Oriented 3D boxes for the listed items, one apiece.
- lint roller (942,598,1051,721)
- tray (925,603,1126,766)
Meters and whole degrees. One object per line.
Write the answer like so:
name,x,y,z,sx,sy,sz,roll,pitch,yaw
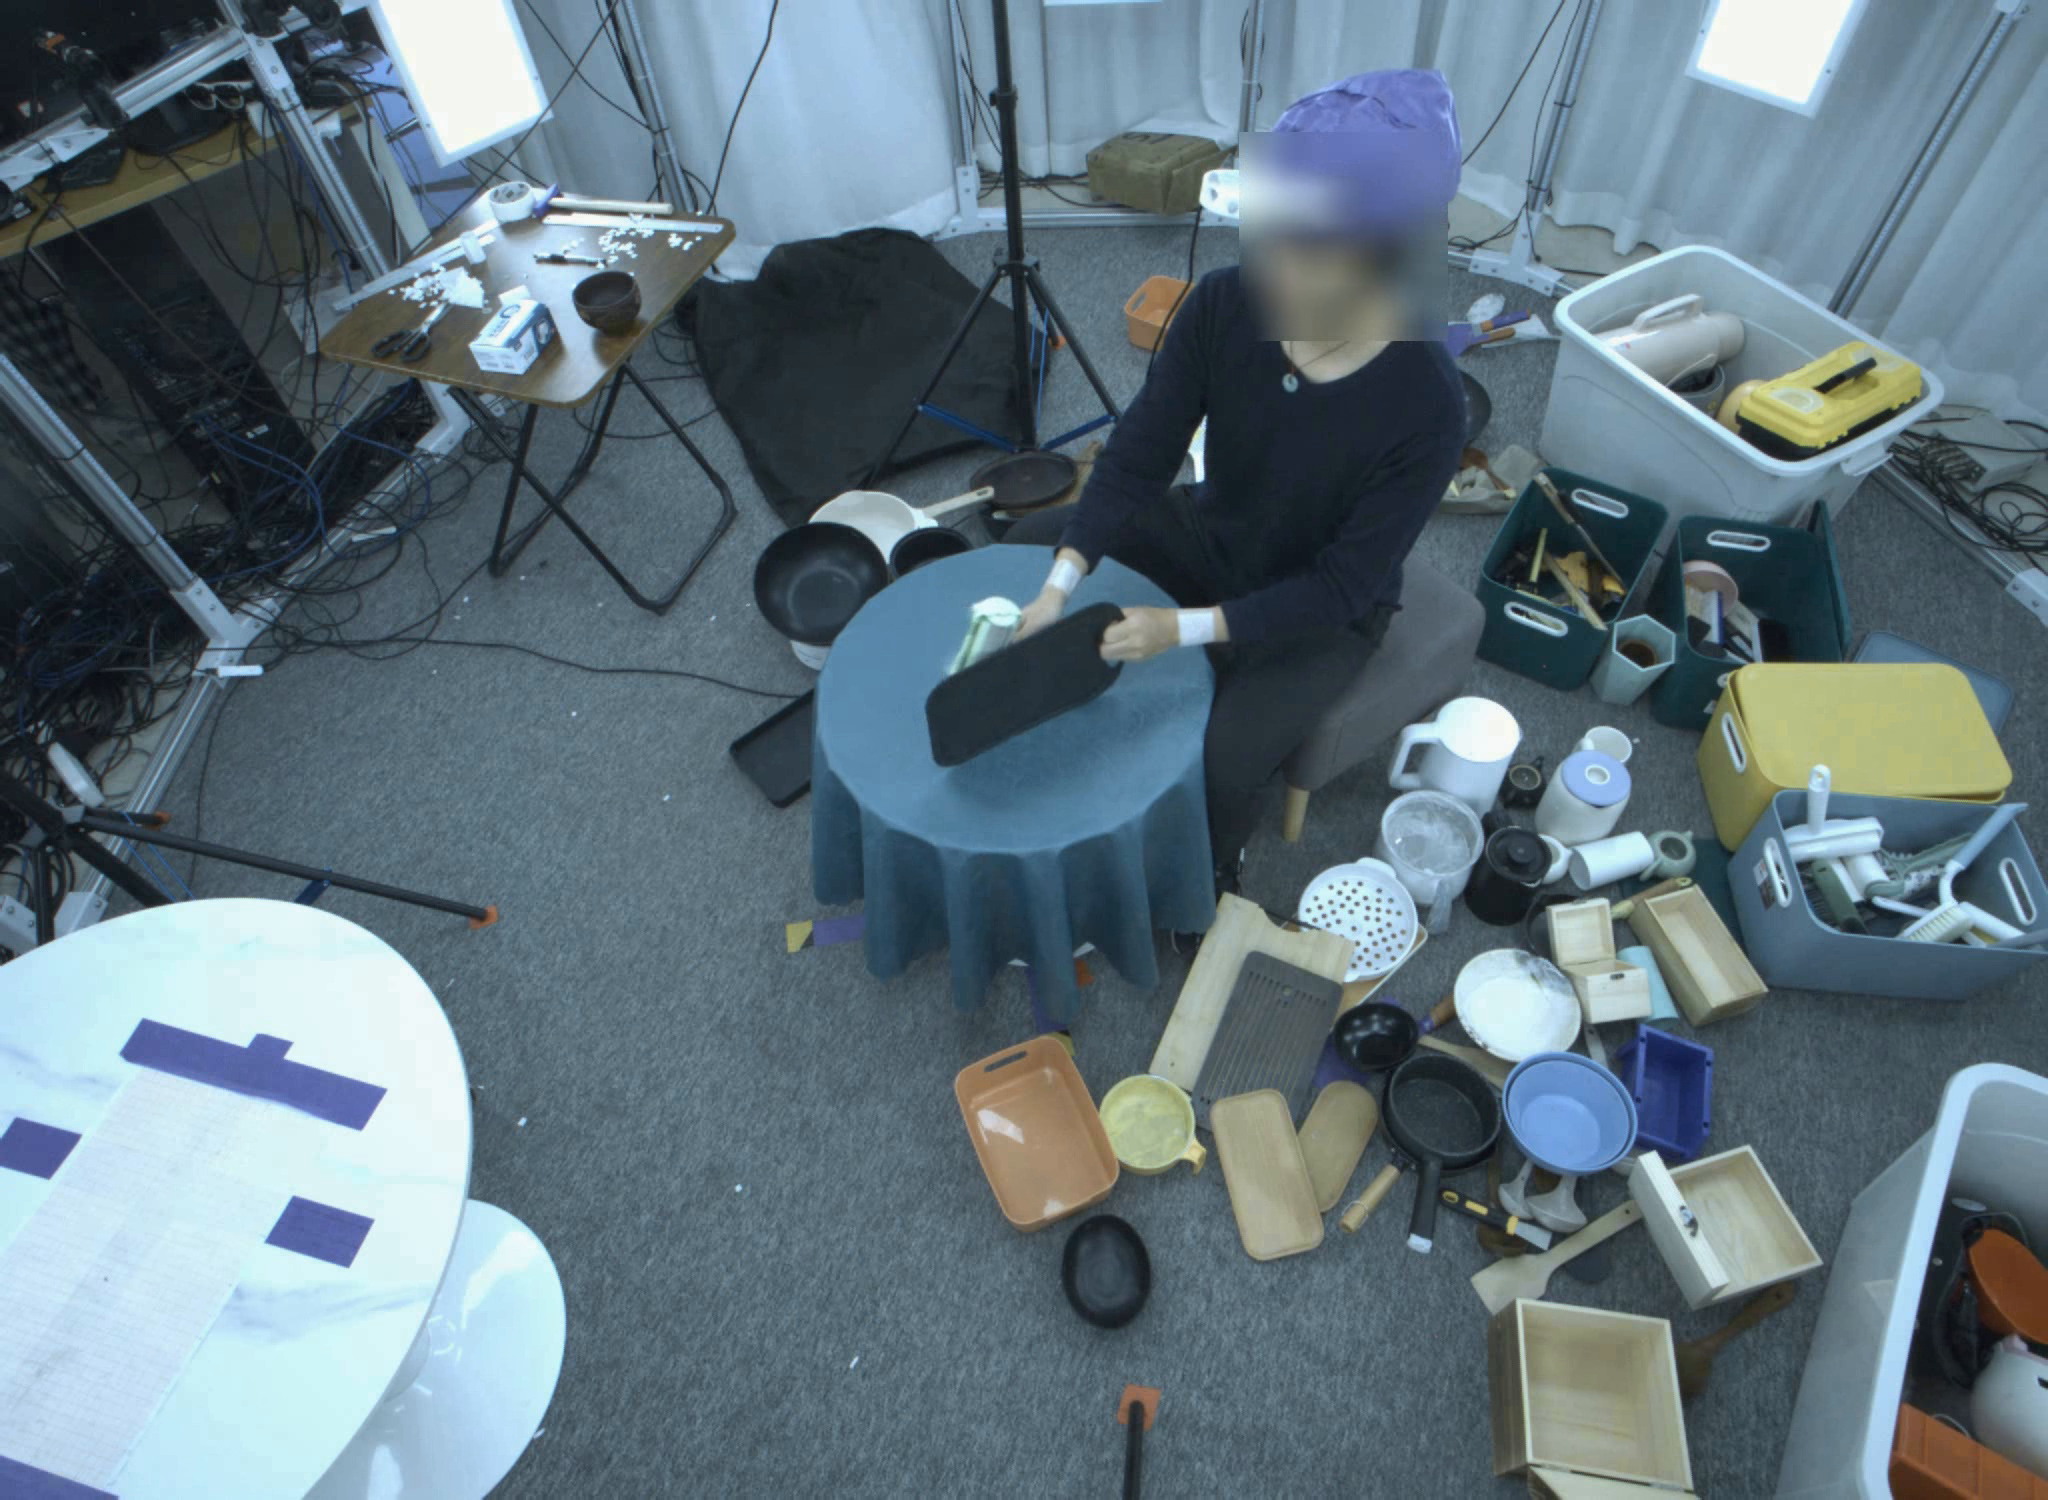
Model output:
lint roller,-0.039,-0.147,1.702,0.081,0.198,0.185,40,45,15
tray,0.009,-0.093,1.721,0.328,0.213,0.009,-28,61,-16
